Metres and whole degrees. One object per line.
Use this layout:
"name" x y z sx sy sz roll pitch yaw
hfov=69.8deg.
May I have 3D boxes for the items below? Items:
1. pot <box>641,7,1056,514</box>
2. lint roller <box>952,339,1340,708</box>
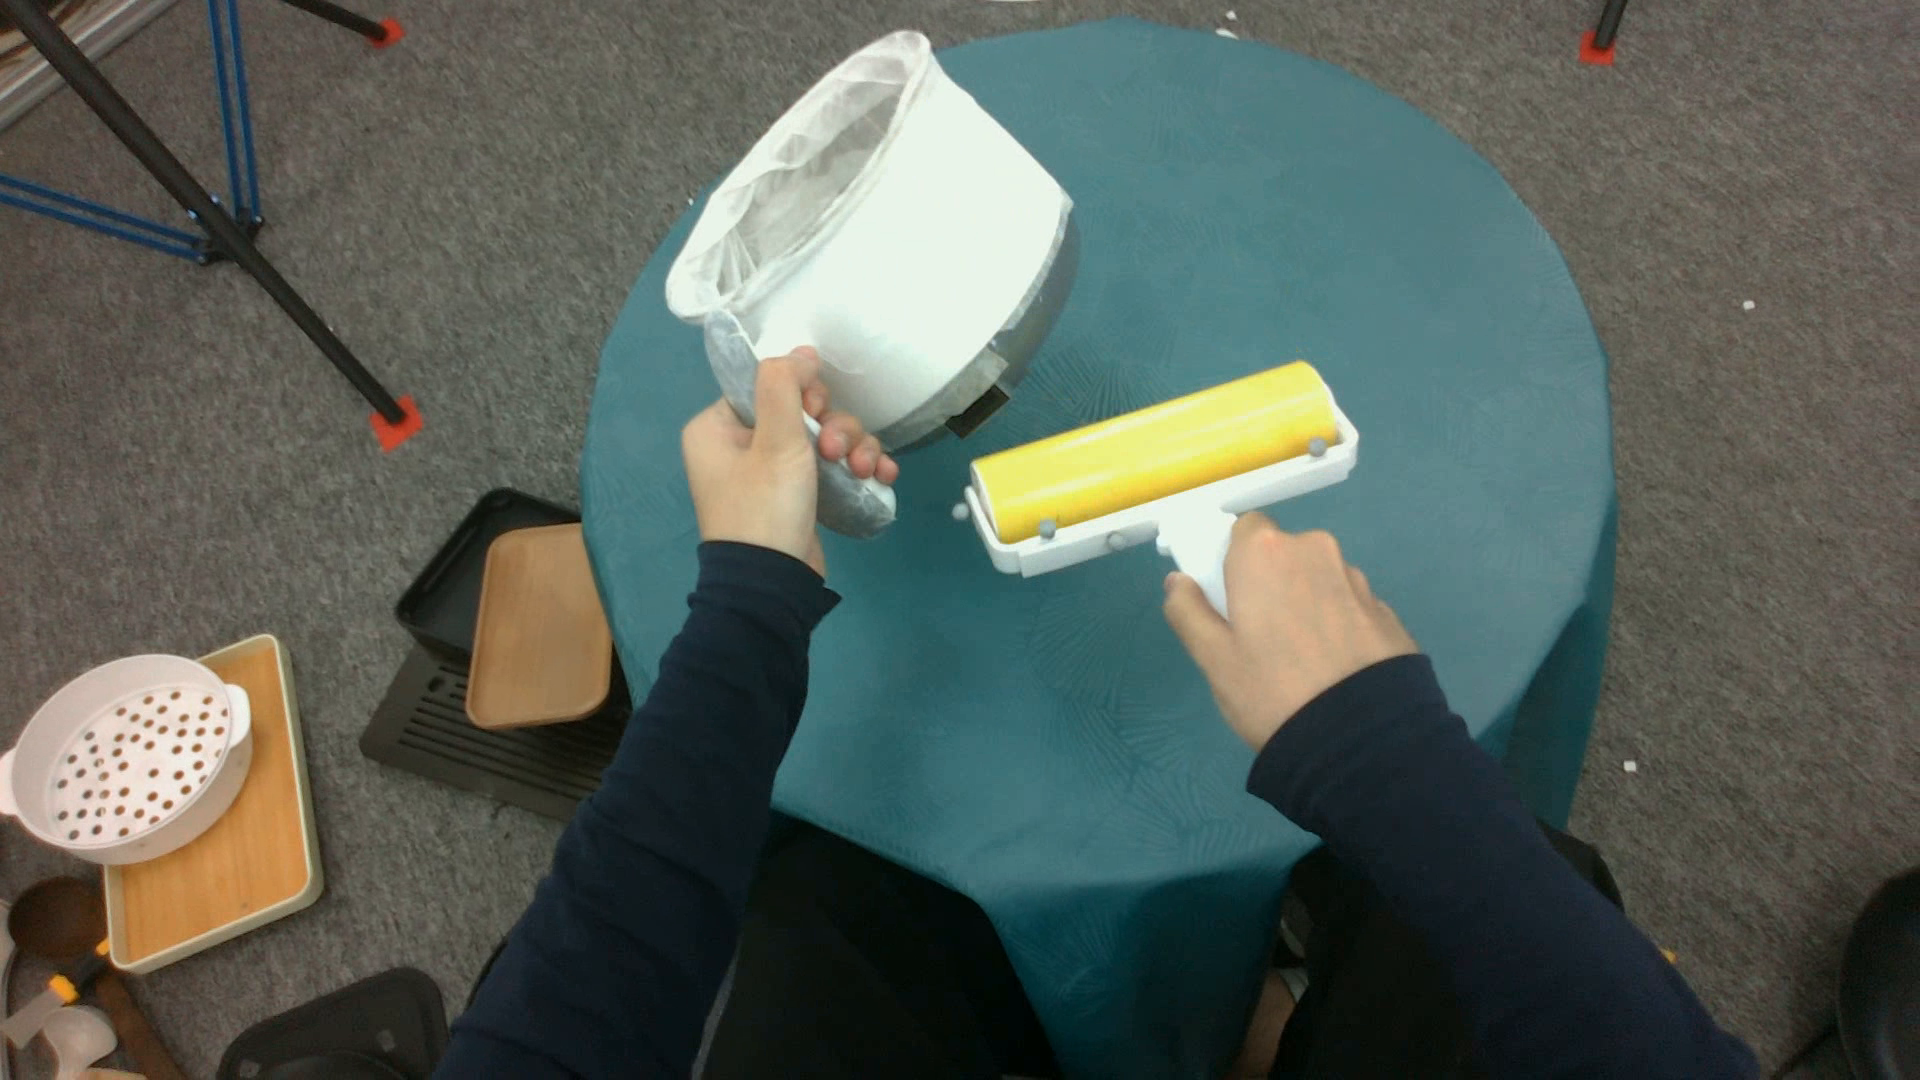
"pot" -0.058 -0.130 0.671 0.178 0.136 0.235 -22 39 41
"lint roller" 0.101 -0.007 0.574 0.174 0.051 0.192 -18 35 -7
